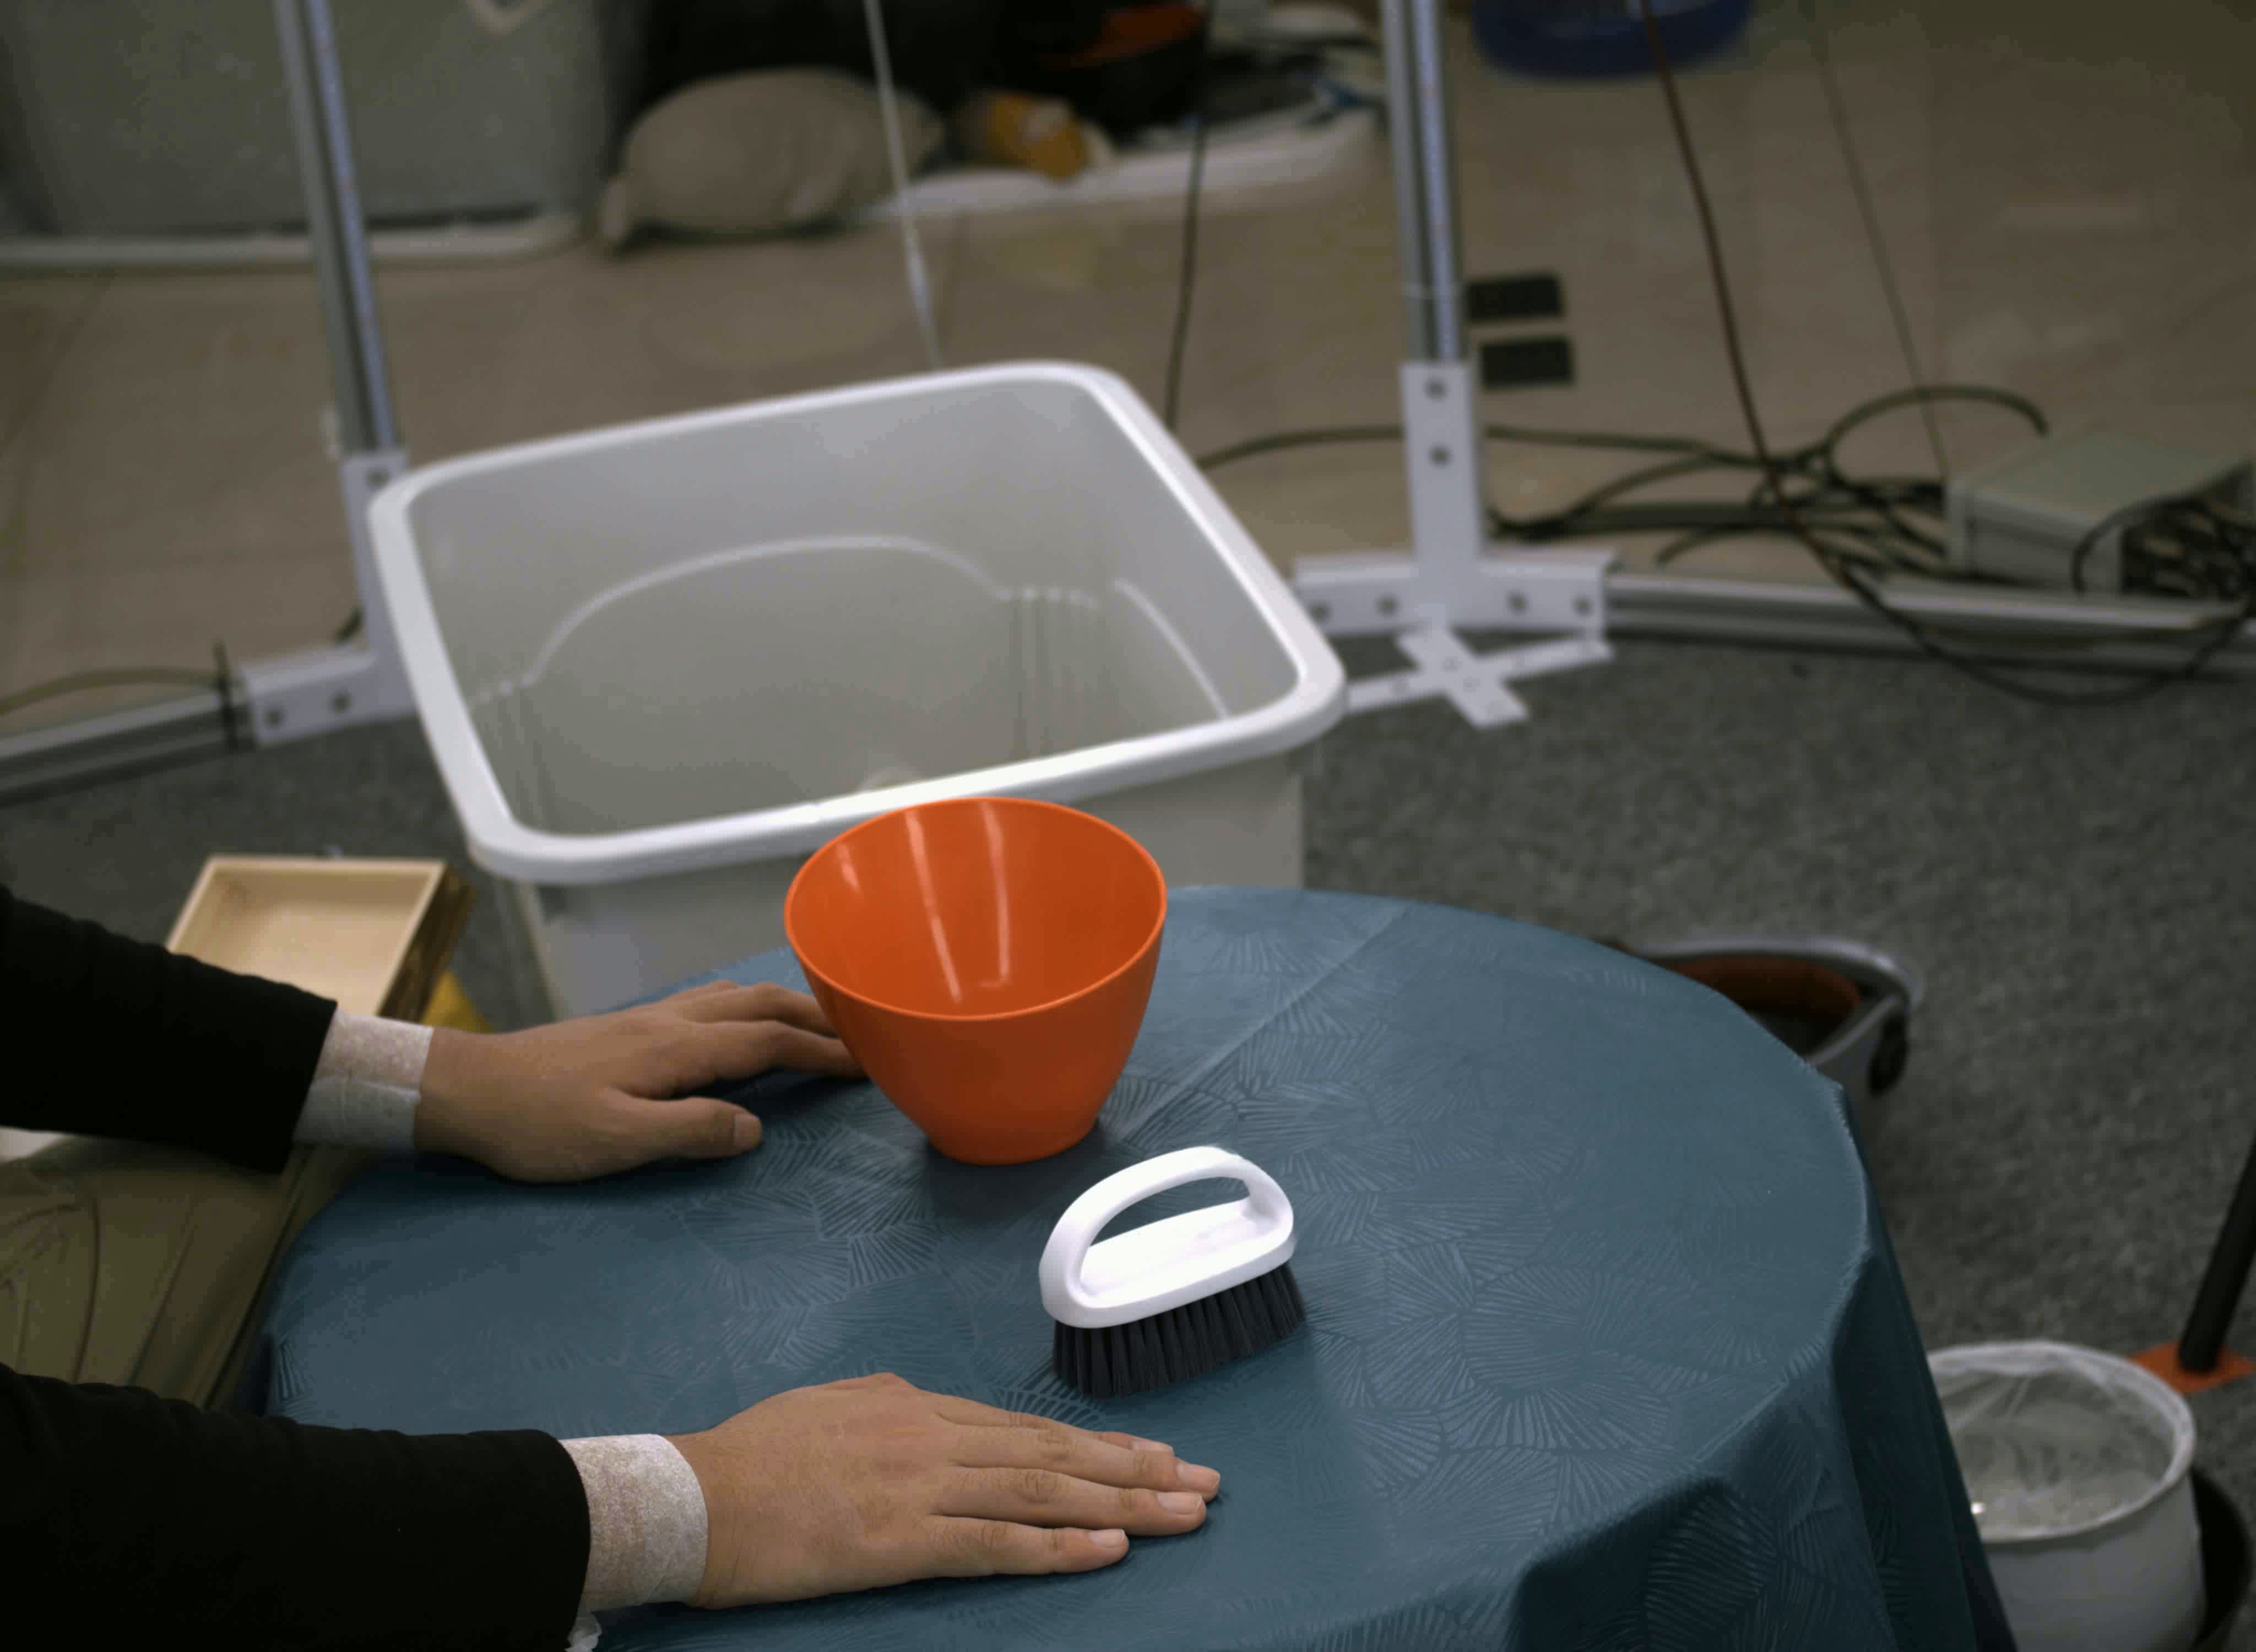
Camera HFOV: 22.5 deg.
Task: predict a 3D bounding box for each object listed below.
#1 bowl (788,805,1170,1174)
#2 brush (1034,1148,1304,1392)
[{"bbox_3d":[-0.052,0.069,2.194,0.148,0.106,0.146,-6,26,3],"label":"bowl"},{"bbox_3d":[0.013,0.153,2.027,0.099,0.074,0.049,-17,28,-21],"label":"brush"}]
